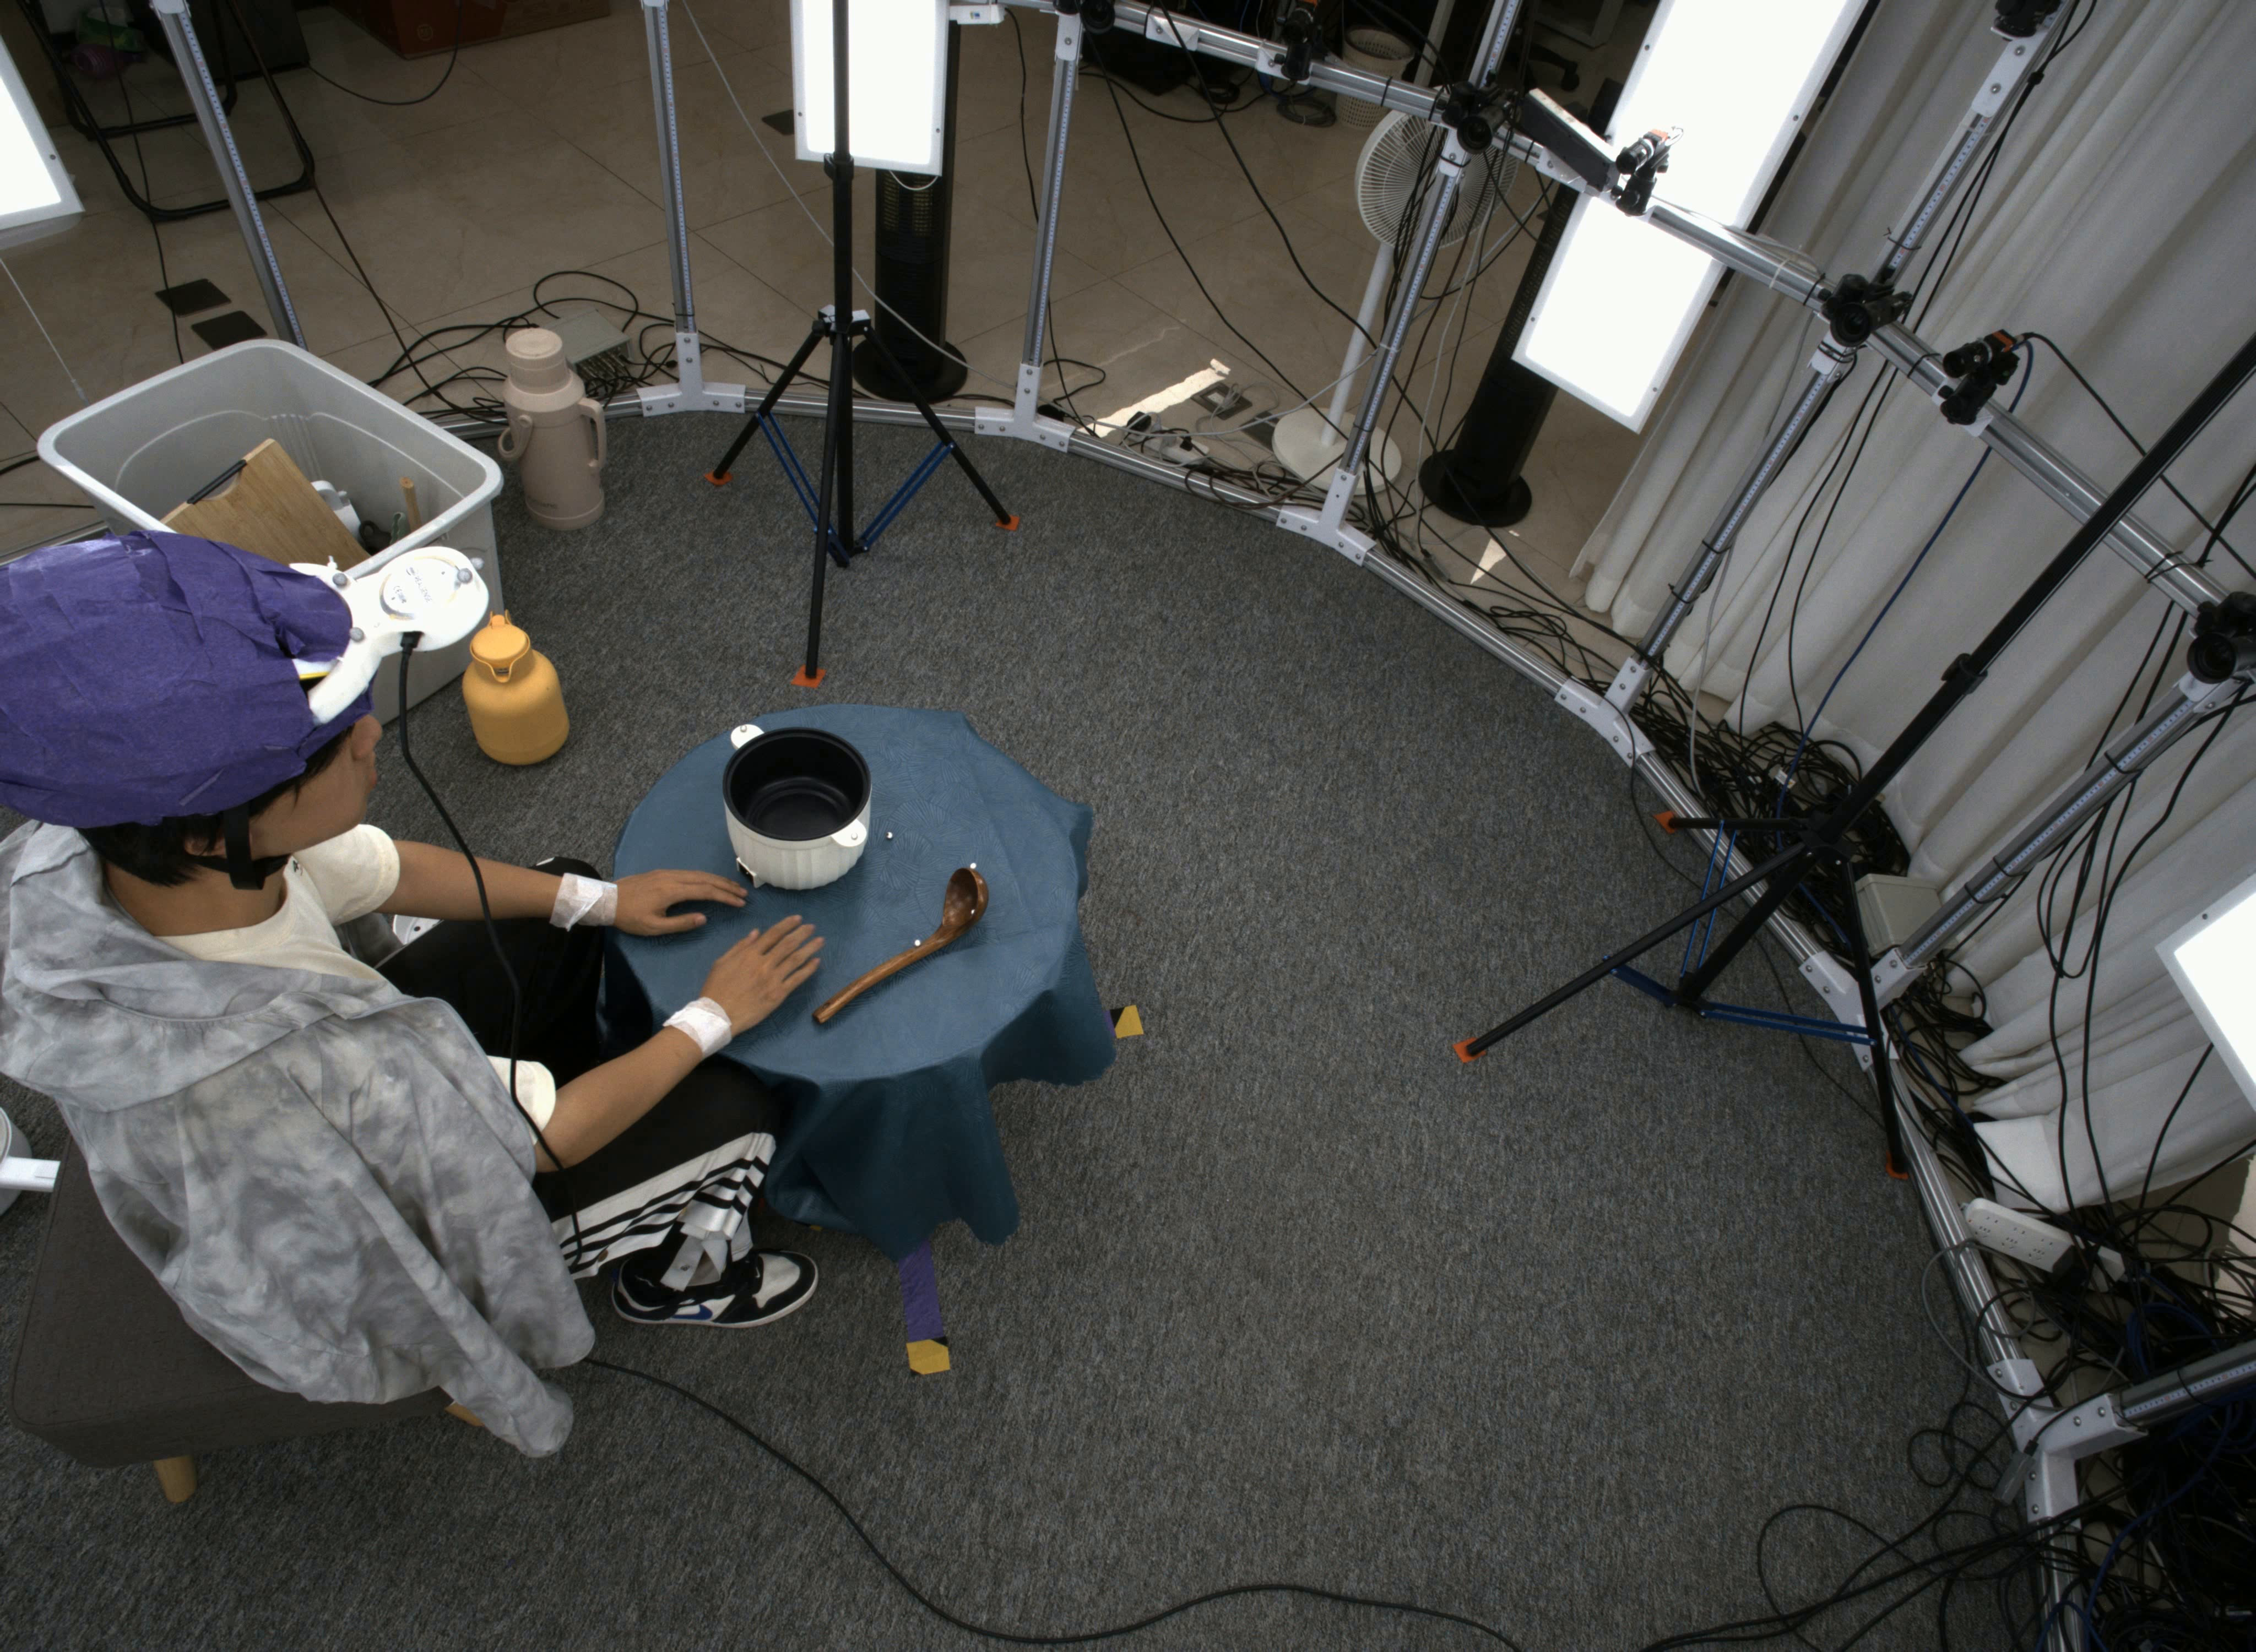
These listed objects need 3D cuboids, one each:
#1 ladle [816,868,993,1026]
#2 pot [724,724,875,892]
[{"bbox_3d":[-0.280,0.143,1.614,0.275,0.079,0.079,-31,109,-28],"label":"ladle"},{"bbox_3d":[-0.410,-0.019,1.654,0.235,0.145,0.190,40,59,16],"label":"pot"}]
